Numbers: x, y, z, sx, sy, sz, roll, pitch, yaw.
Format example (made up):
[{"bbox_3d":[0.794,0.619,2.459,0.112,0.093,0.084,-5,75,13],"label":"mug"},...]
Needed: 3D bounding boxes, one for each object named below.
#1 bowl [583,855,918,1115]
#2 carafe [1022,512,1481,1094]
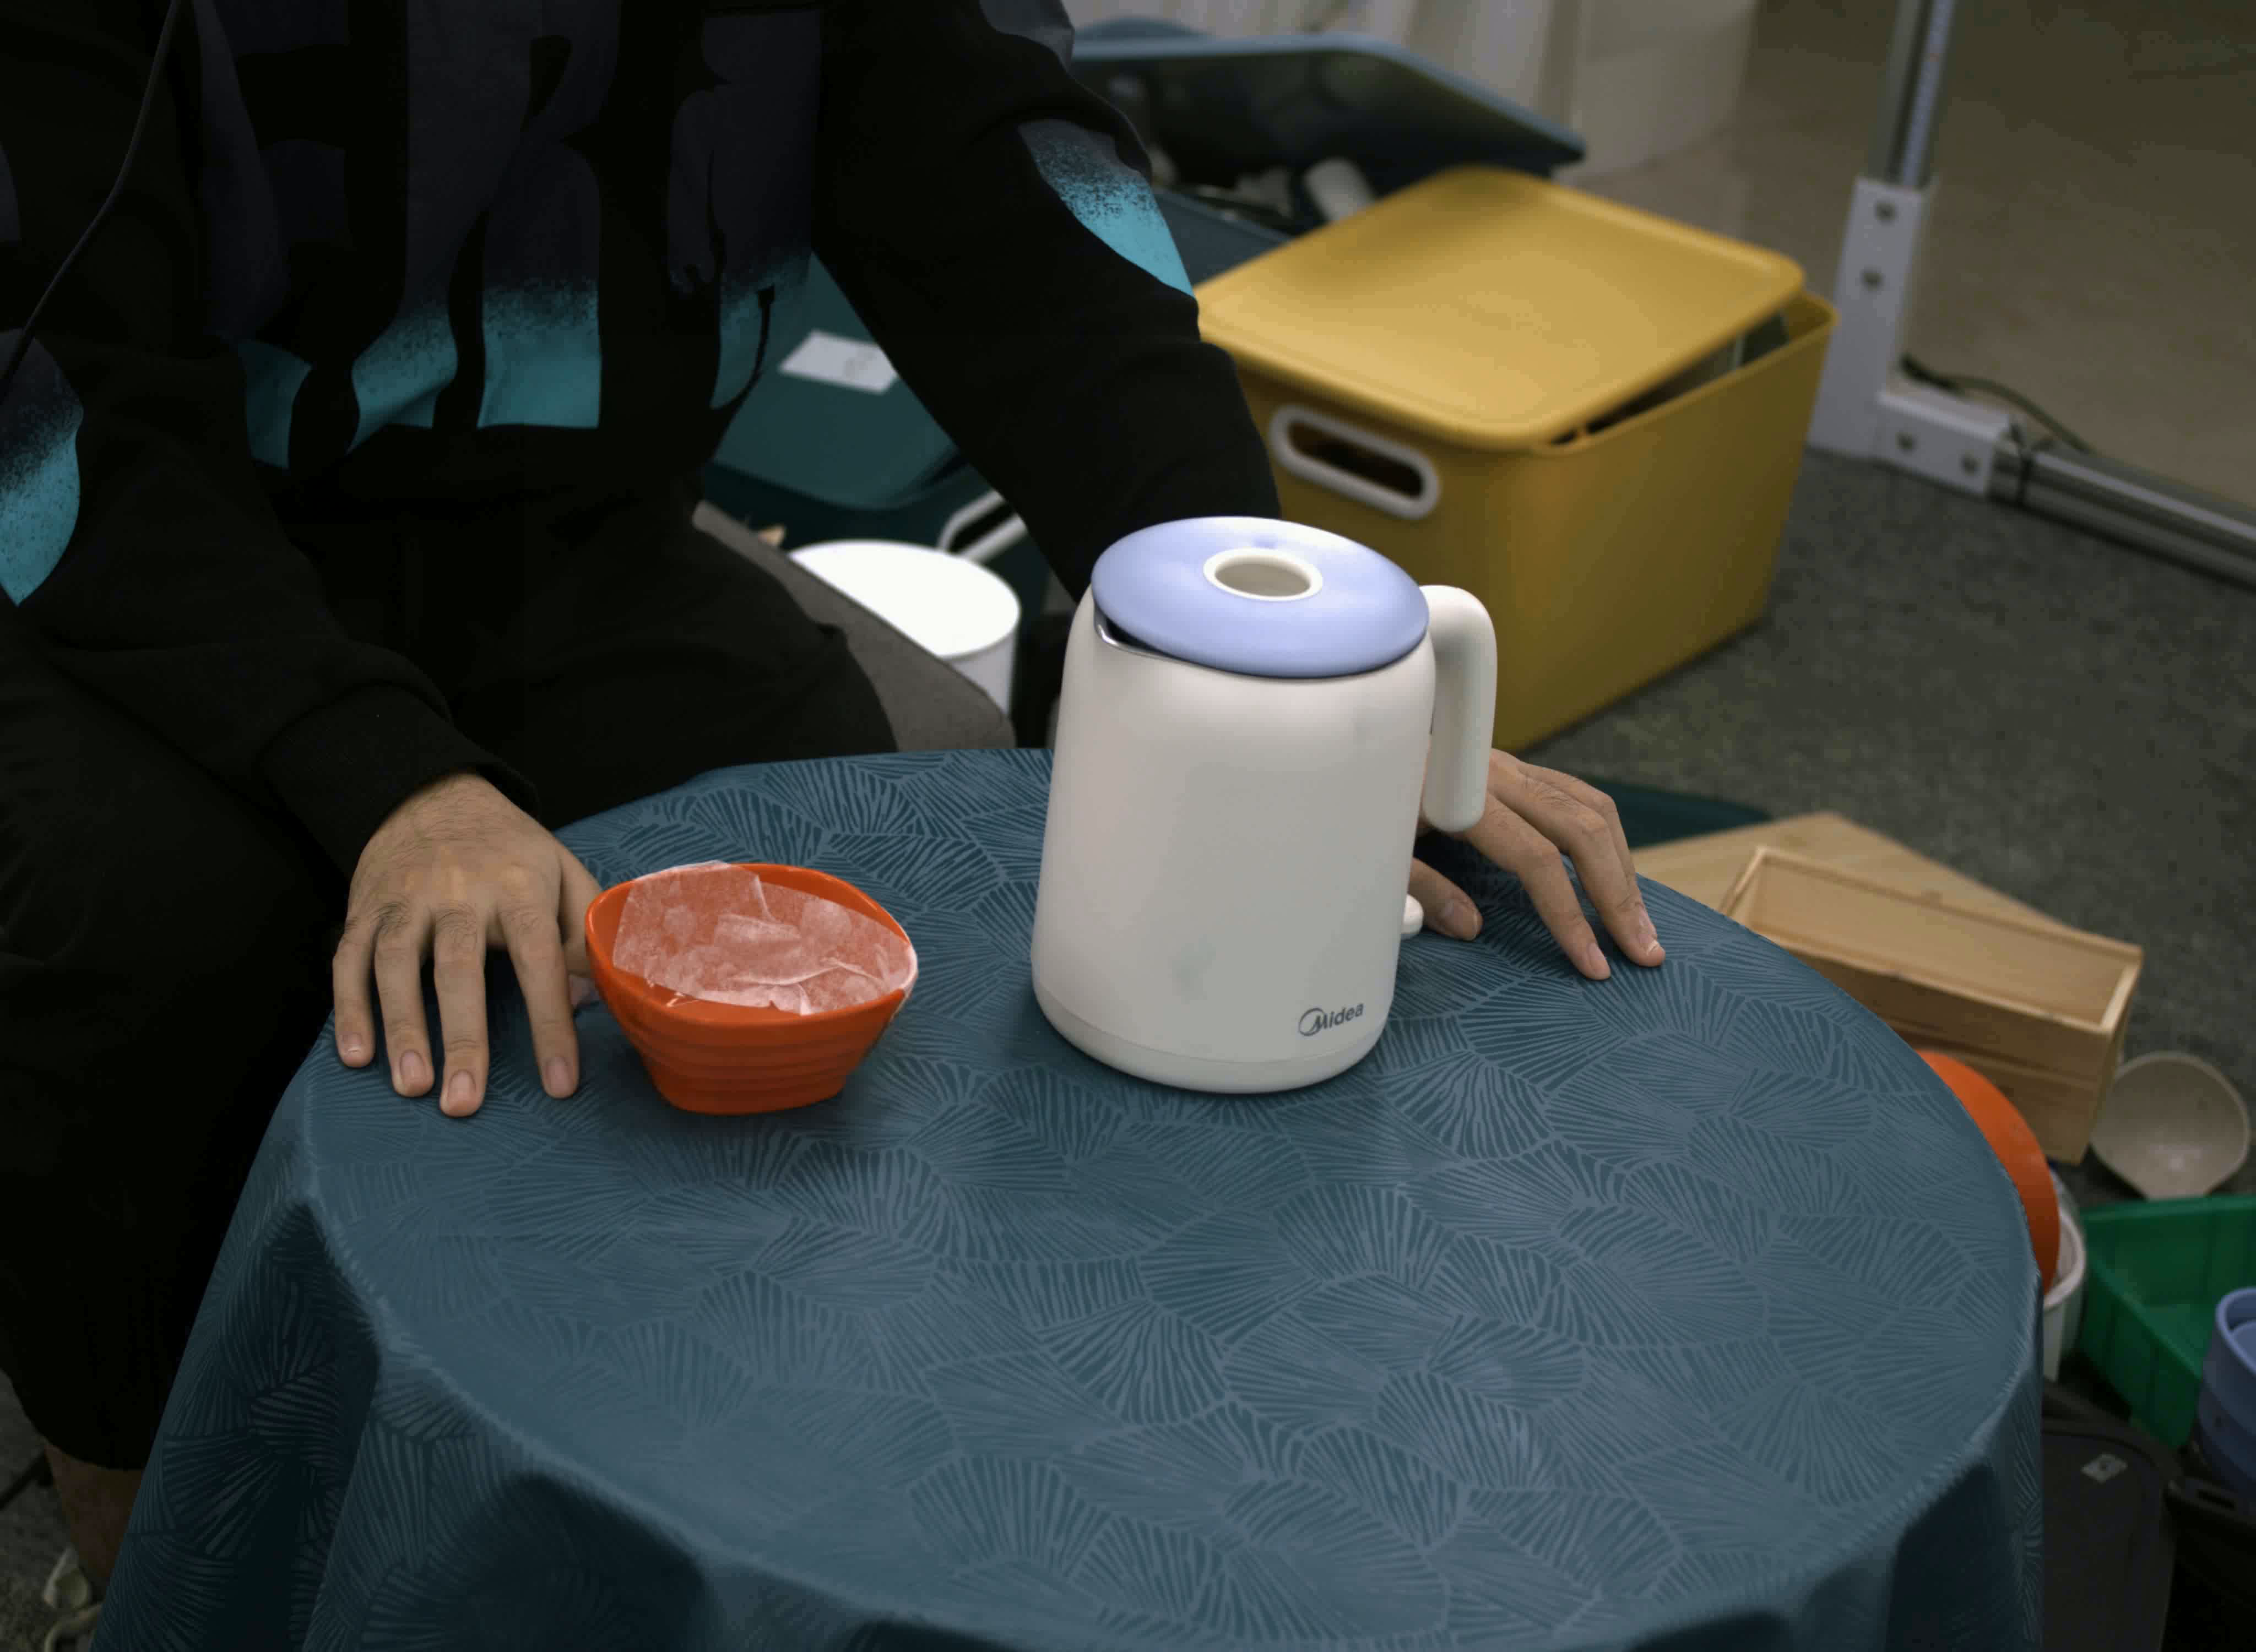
[{"bbox_3d":[-0.132,0.059,1.837,0.118,0.051,0.119,4,29,-3],"label":"bowl"},{"bbox_3d":[0.054,-0.013,1.893,0.190,0.182,0.133,-13,34,-39],"label":"carafe"}]
